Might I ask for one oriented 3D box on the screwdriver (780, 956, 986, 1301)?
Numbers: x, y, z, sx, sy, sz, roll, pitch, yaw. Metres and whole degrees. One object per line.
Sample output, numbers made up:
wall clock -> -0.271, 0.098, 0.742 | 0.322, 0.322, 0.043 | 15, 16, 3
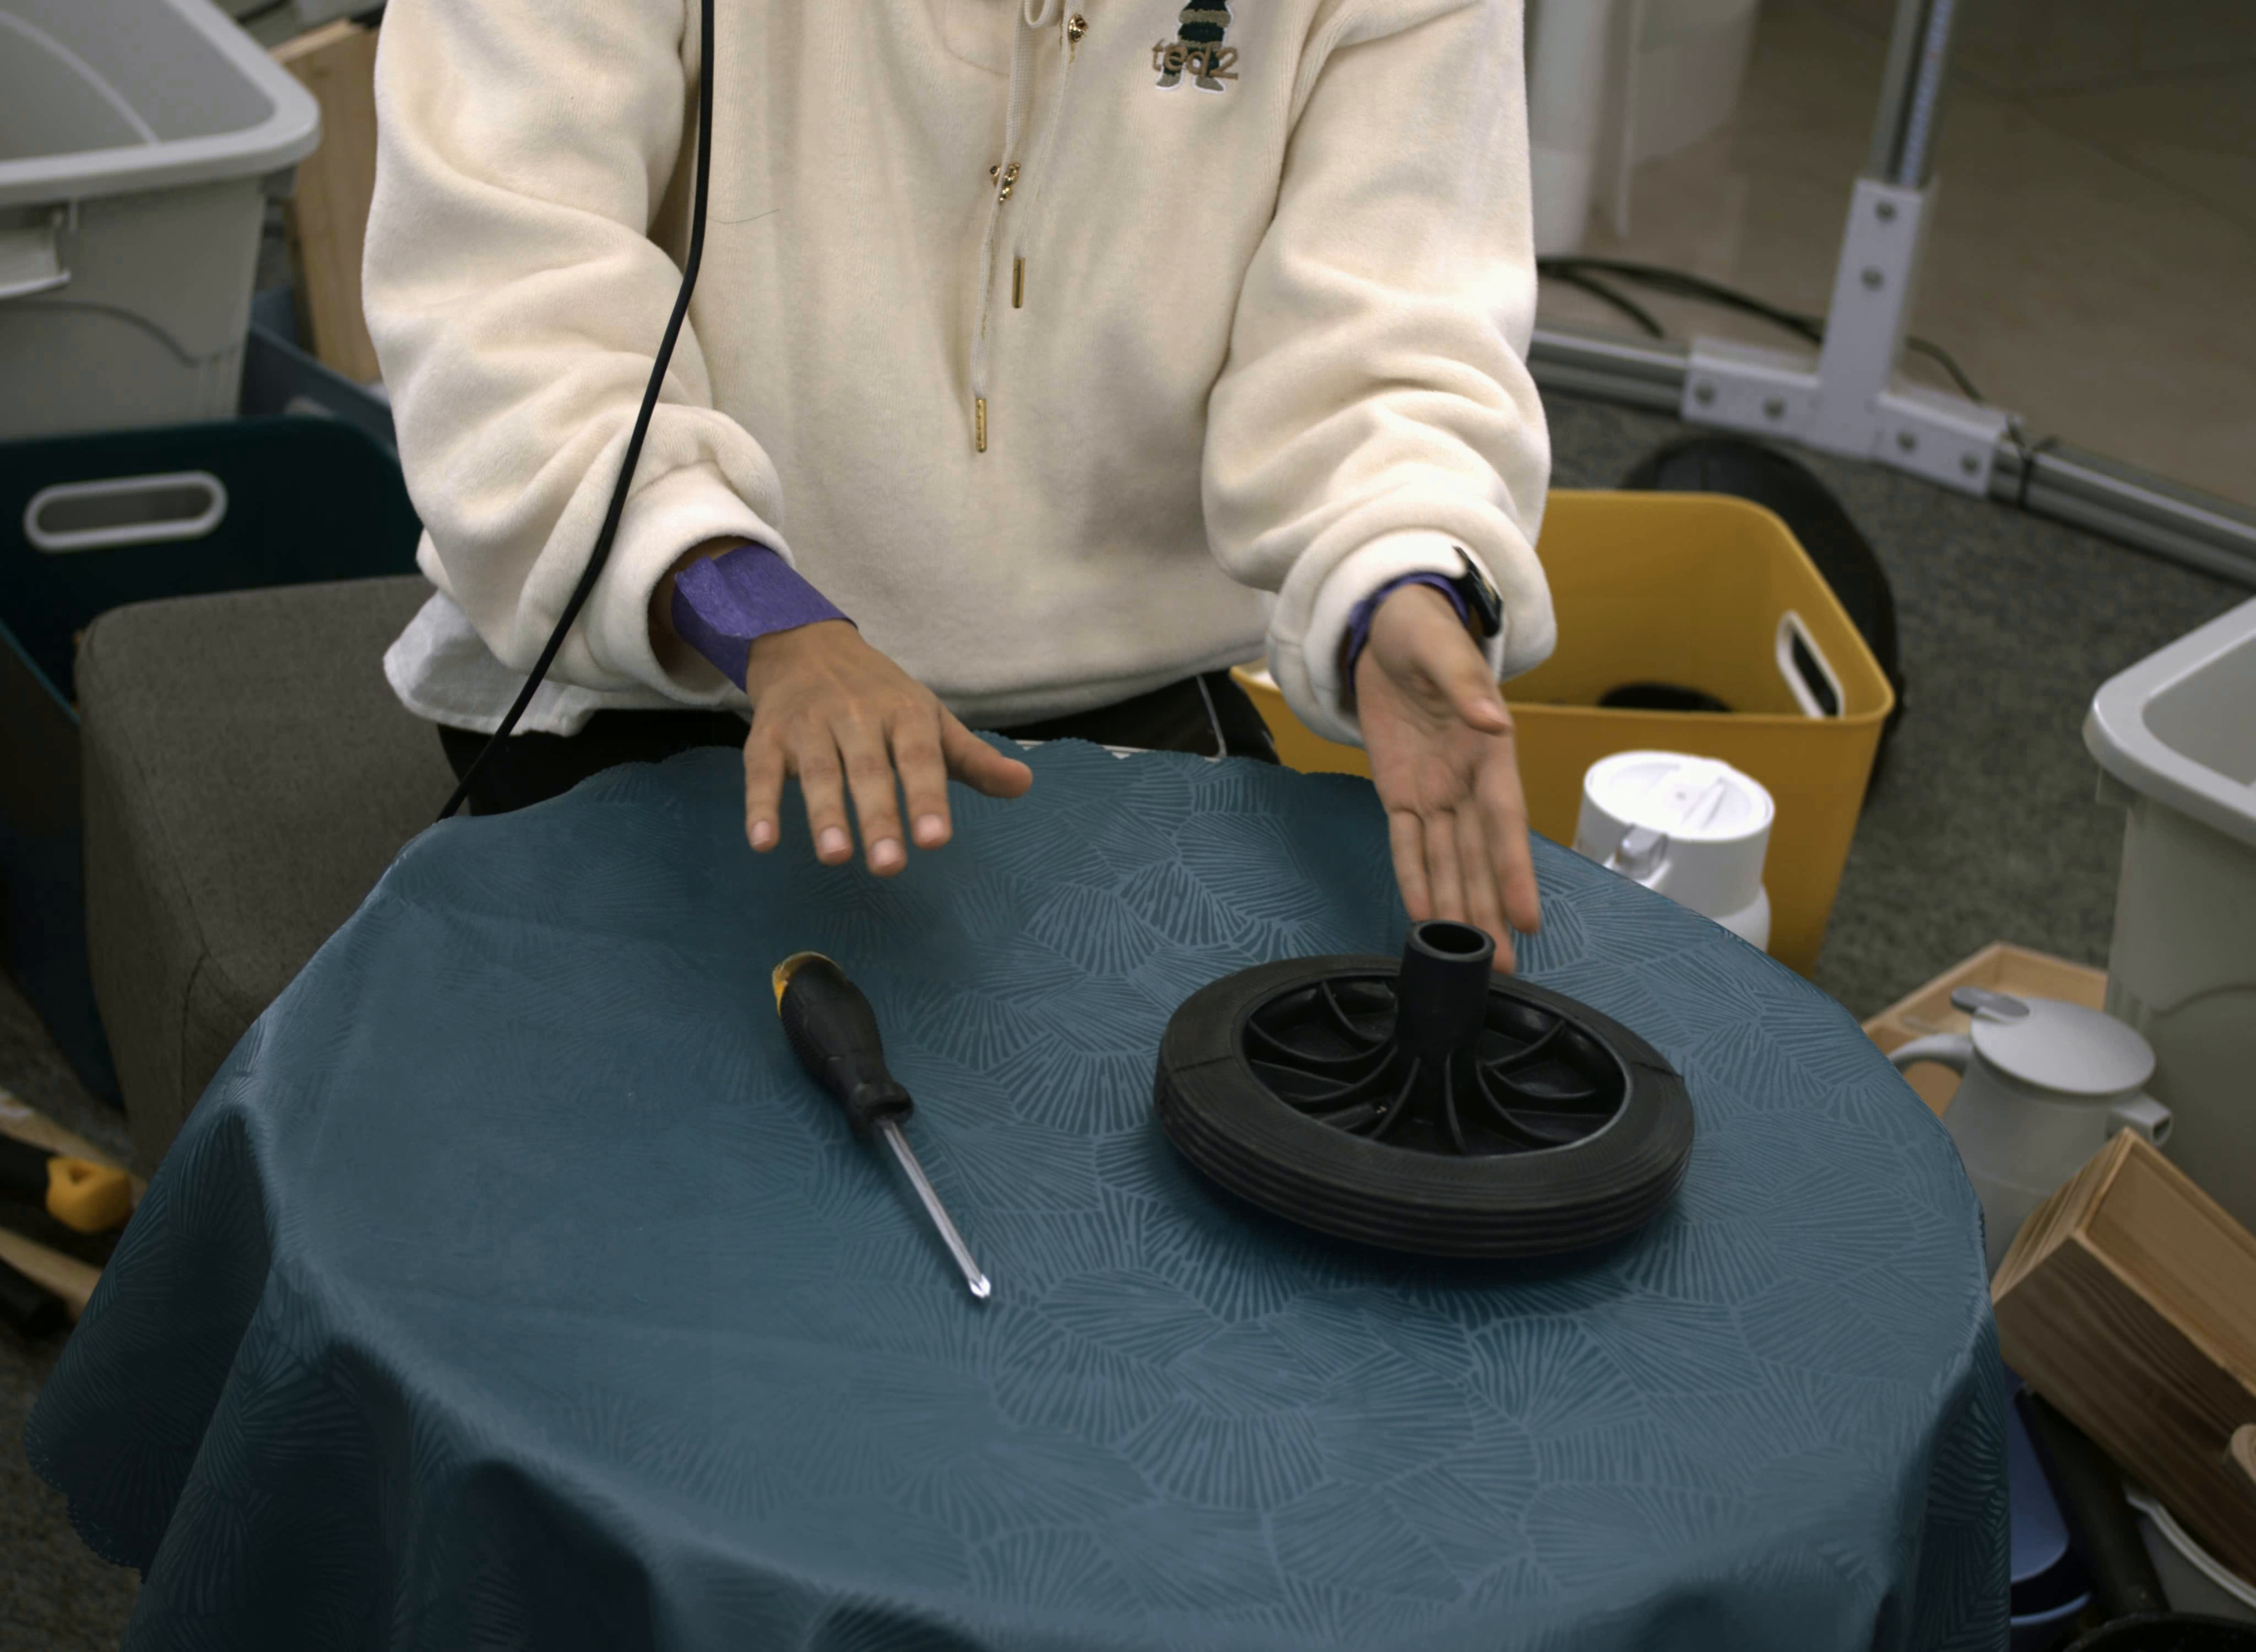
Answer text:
screwdriver -> -0.077, 0.101, 1.802 | 0.031, 0.031, 0.198 | -5, 31, -24

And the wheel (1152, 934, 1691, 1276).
wheel -> 0.103, 0.080, 1.829 | 0.188, 0.079, 0.190 | 17, 28, 20
